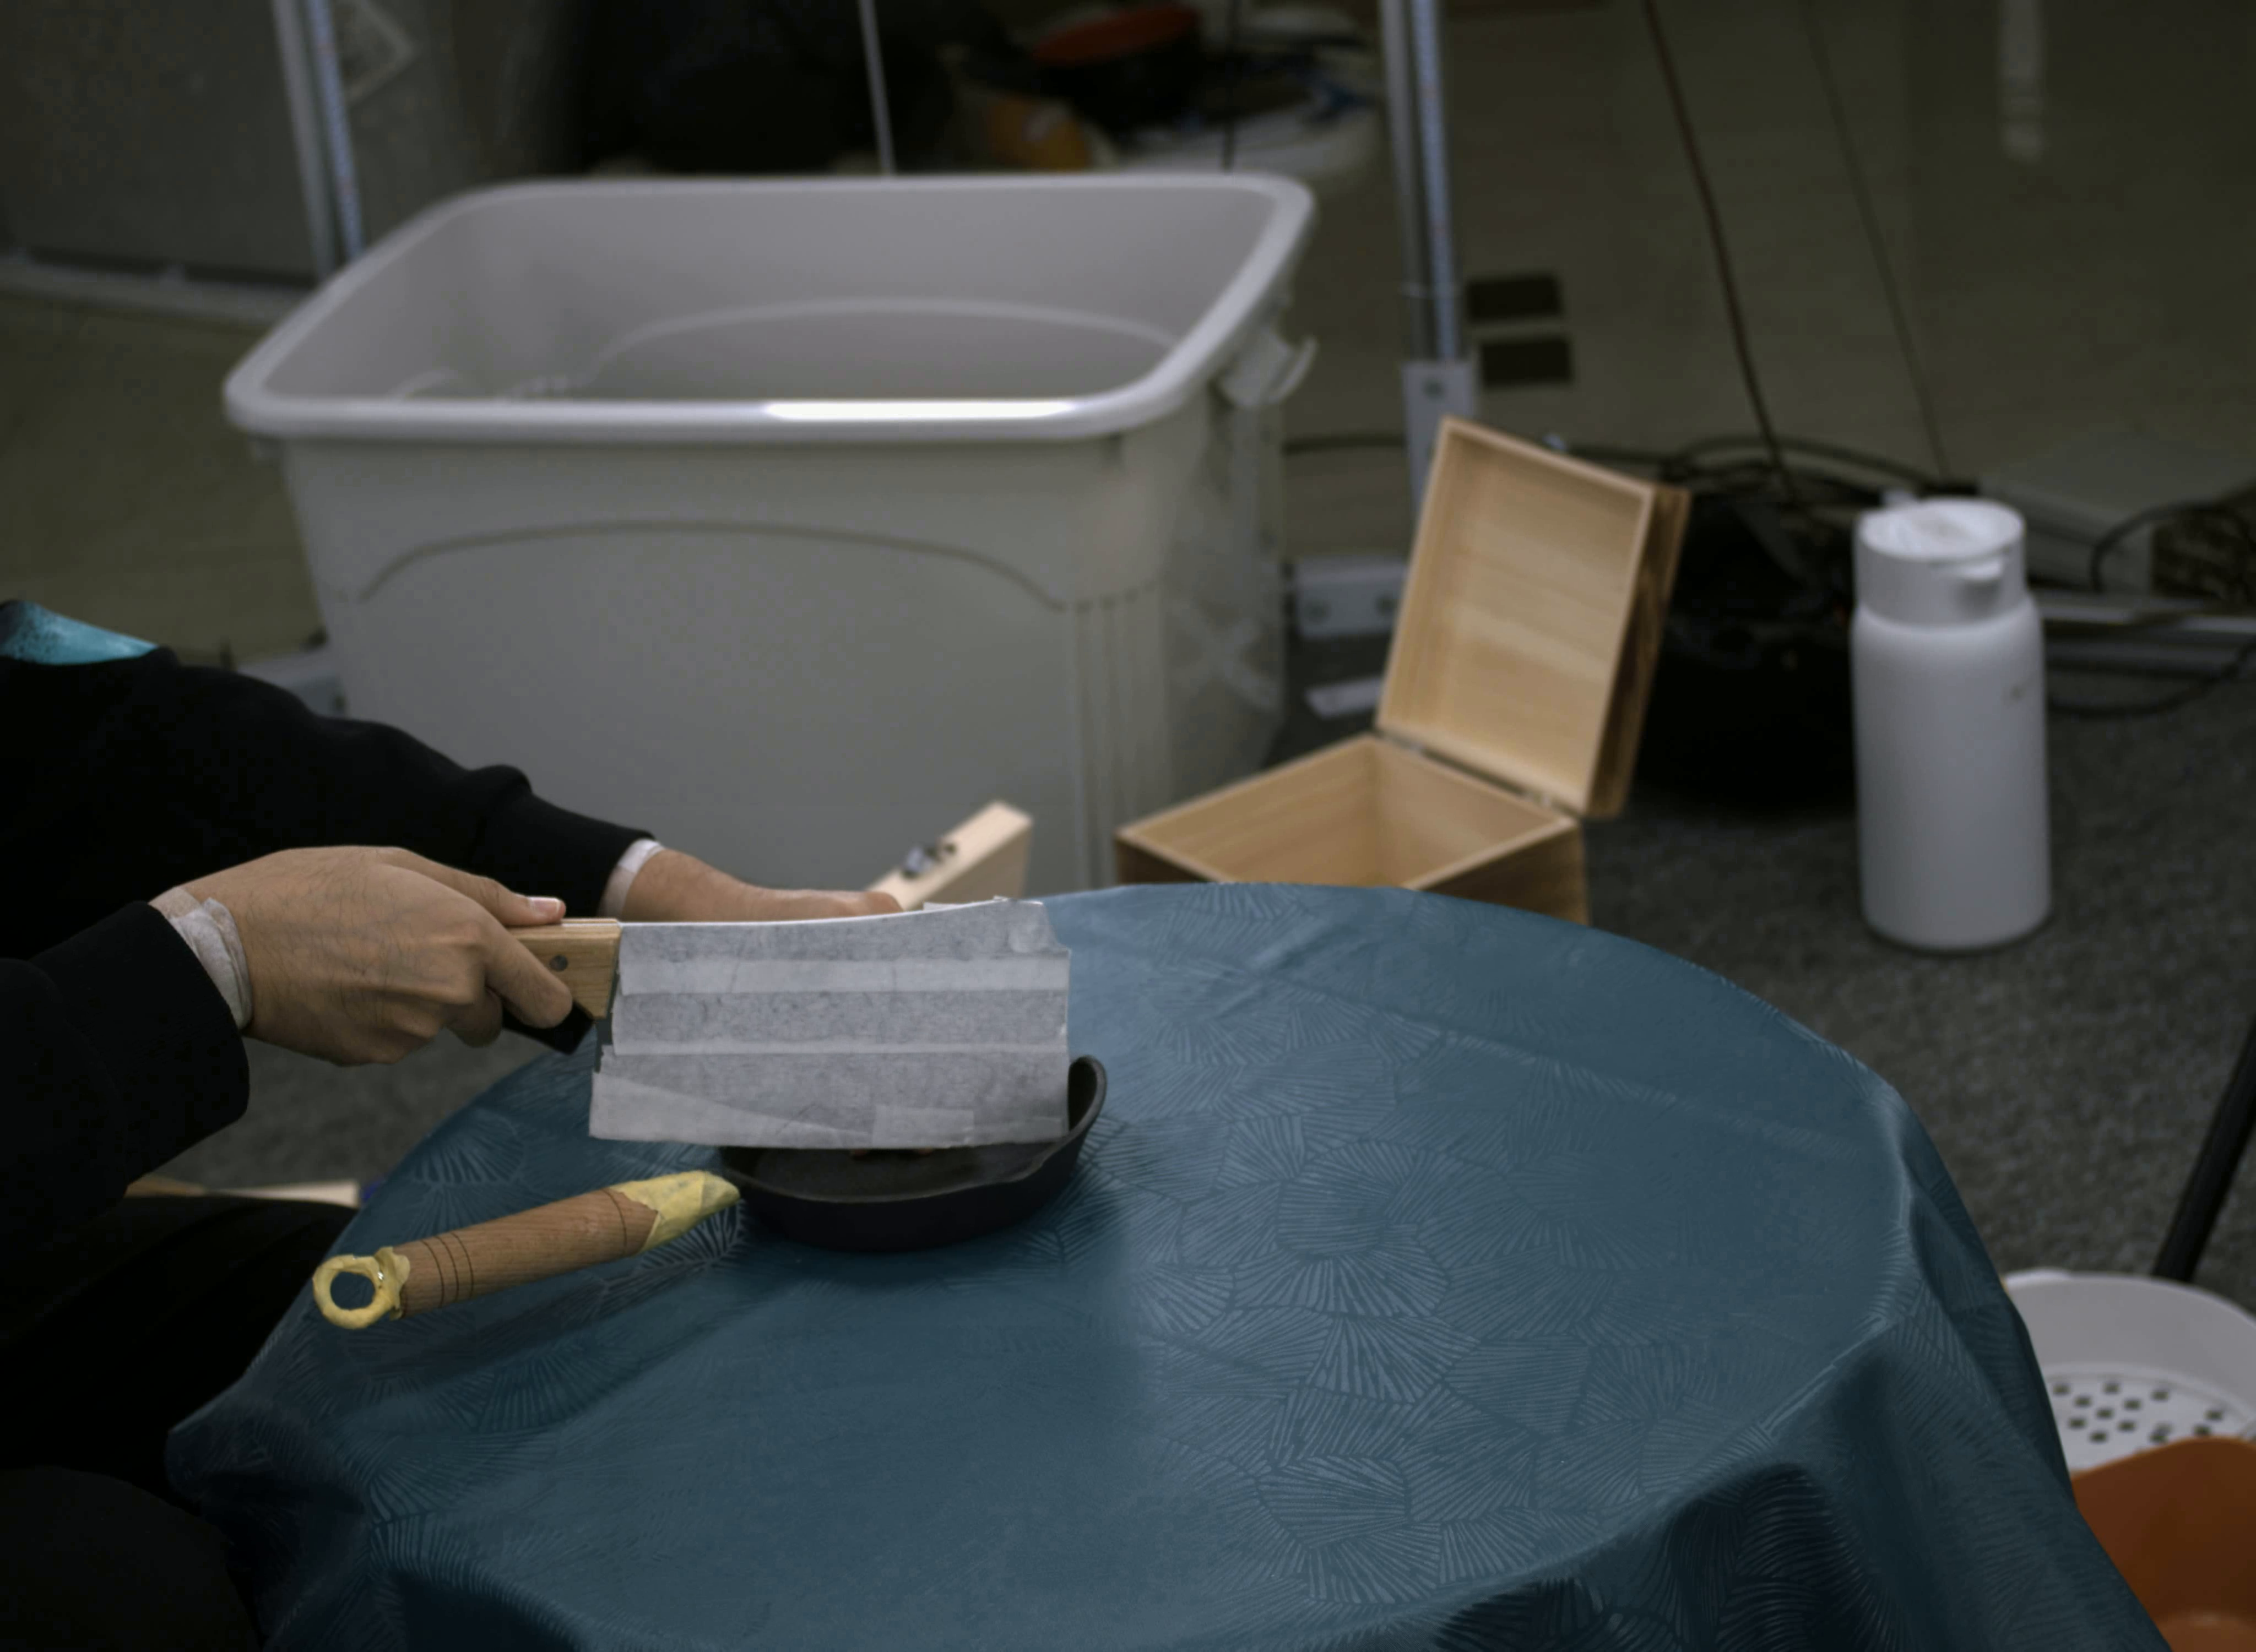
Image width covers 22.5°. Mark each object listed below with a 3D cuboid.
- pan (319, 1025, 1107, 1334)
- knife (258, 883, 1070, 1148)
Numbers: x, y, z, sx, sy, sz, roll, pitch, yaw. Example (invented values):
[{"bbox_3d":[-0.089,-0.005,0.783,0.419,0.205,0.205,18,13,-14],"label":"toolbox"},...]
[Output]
[{"bbox_3d":[-0.155,0.138,2.128,0.322,0.050,0.167,-19,28,-27],"label":"pan"},{"bbox_3d":[-0.168,0.068,2.125,0.315,0.115,0.021,4,18,-15],"label":"knife"}]
